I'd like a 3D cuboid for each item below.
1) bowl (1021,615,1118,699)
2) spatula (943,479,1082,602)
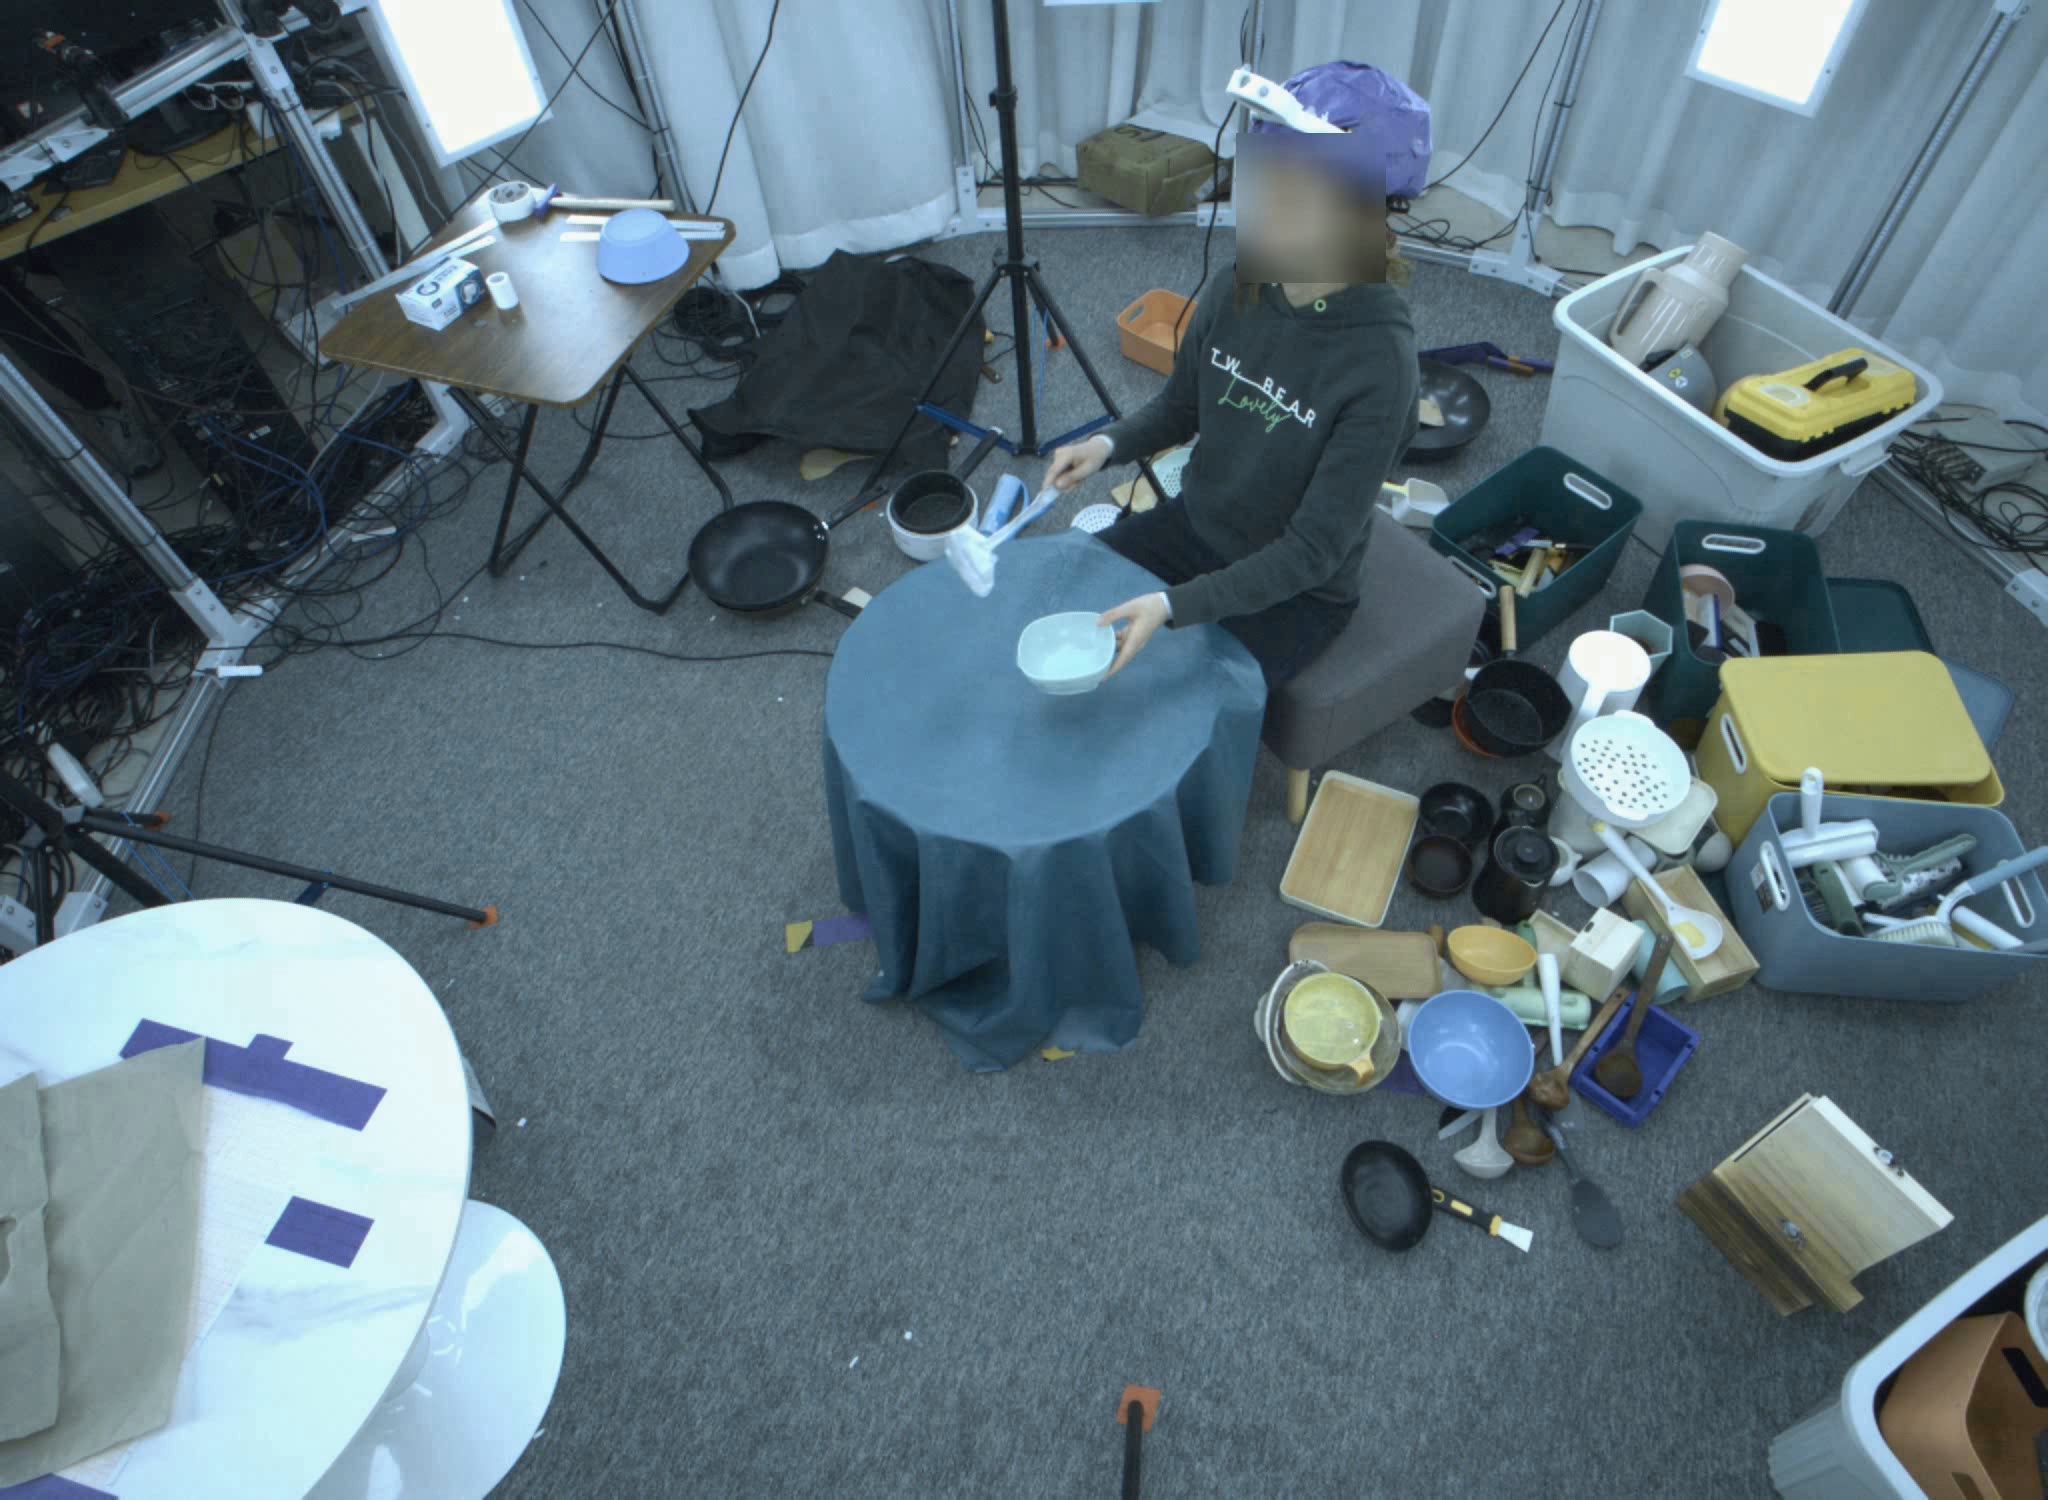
[{"bbox_3d":[0.068,-0.124,1.763,0.151,0.059,0.150,-4,51,7],"label":"bowl"},{"bbox_3d":[-0.003,-0.333,1.818,0.099,0.044,0.367,55,51,-13],"label":"spatula"}]
